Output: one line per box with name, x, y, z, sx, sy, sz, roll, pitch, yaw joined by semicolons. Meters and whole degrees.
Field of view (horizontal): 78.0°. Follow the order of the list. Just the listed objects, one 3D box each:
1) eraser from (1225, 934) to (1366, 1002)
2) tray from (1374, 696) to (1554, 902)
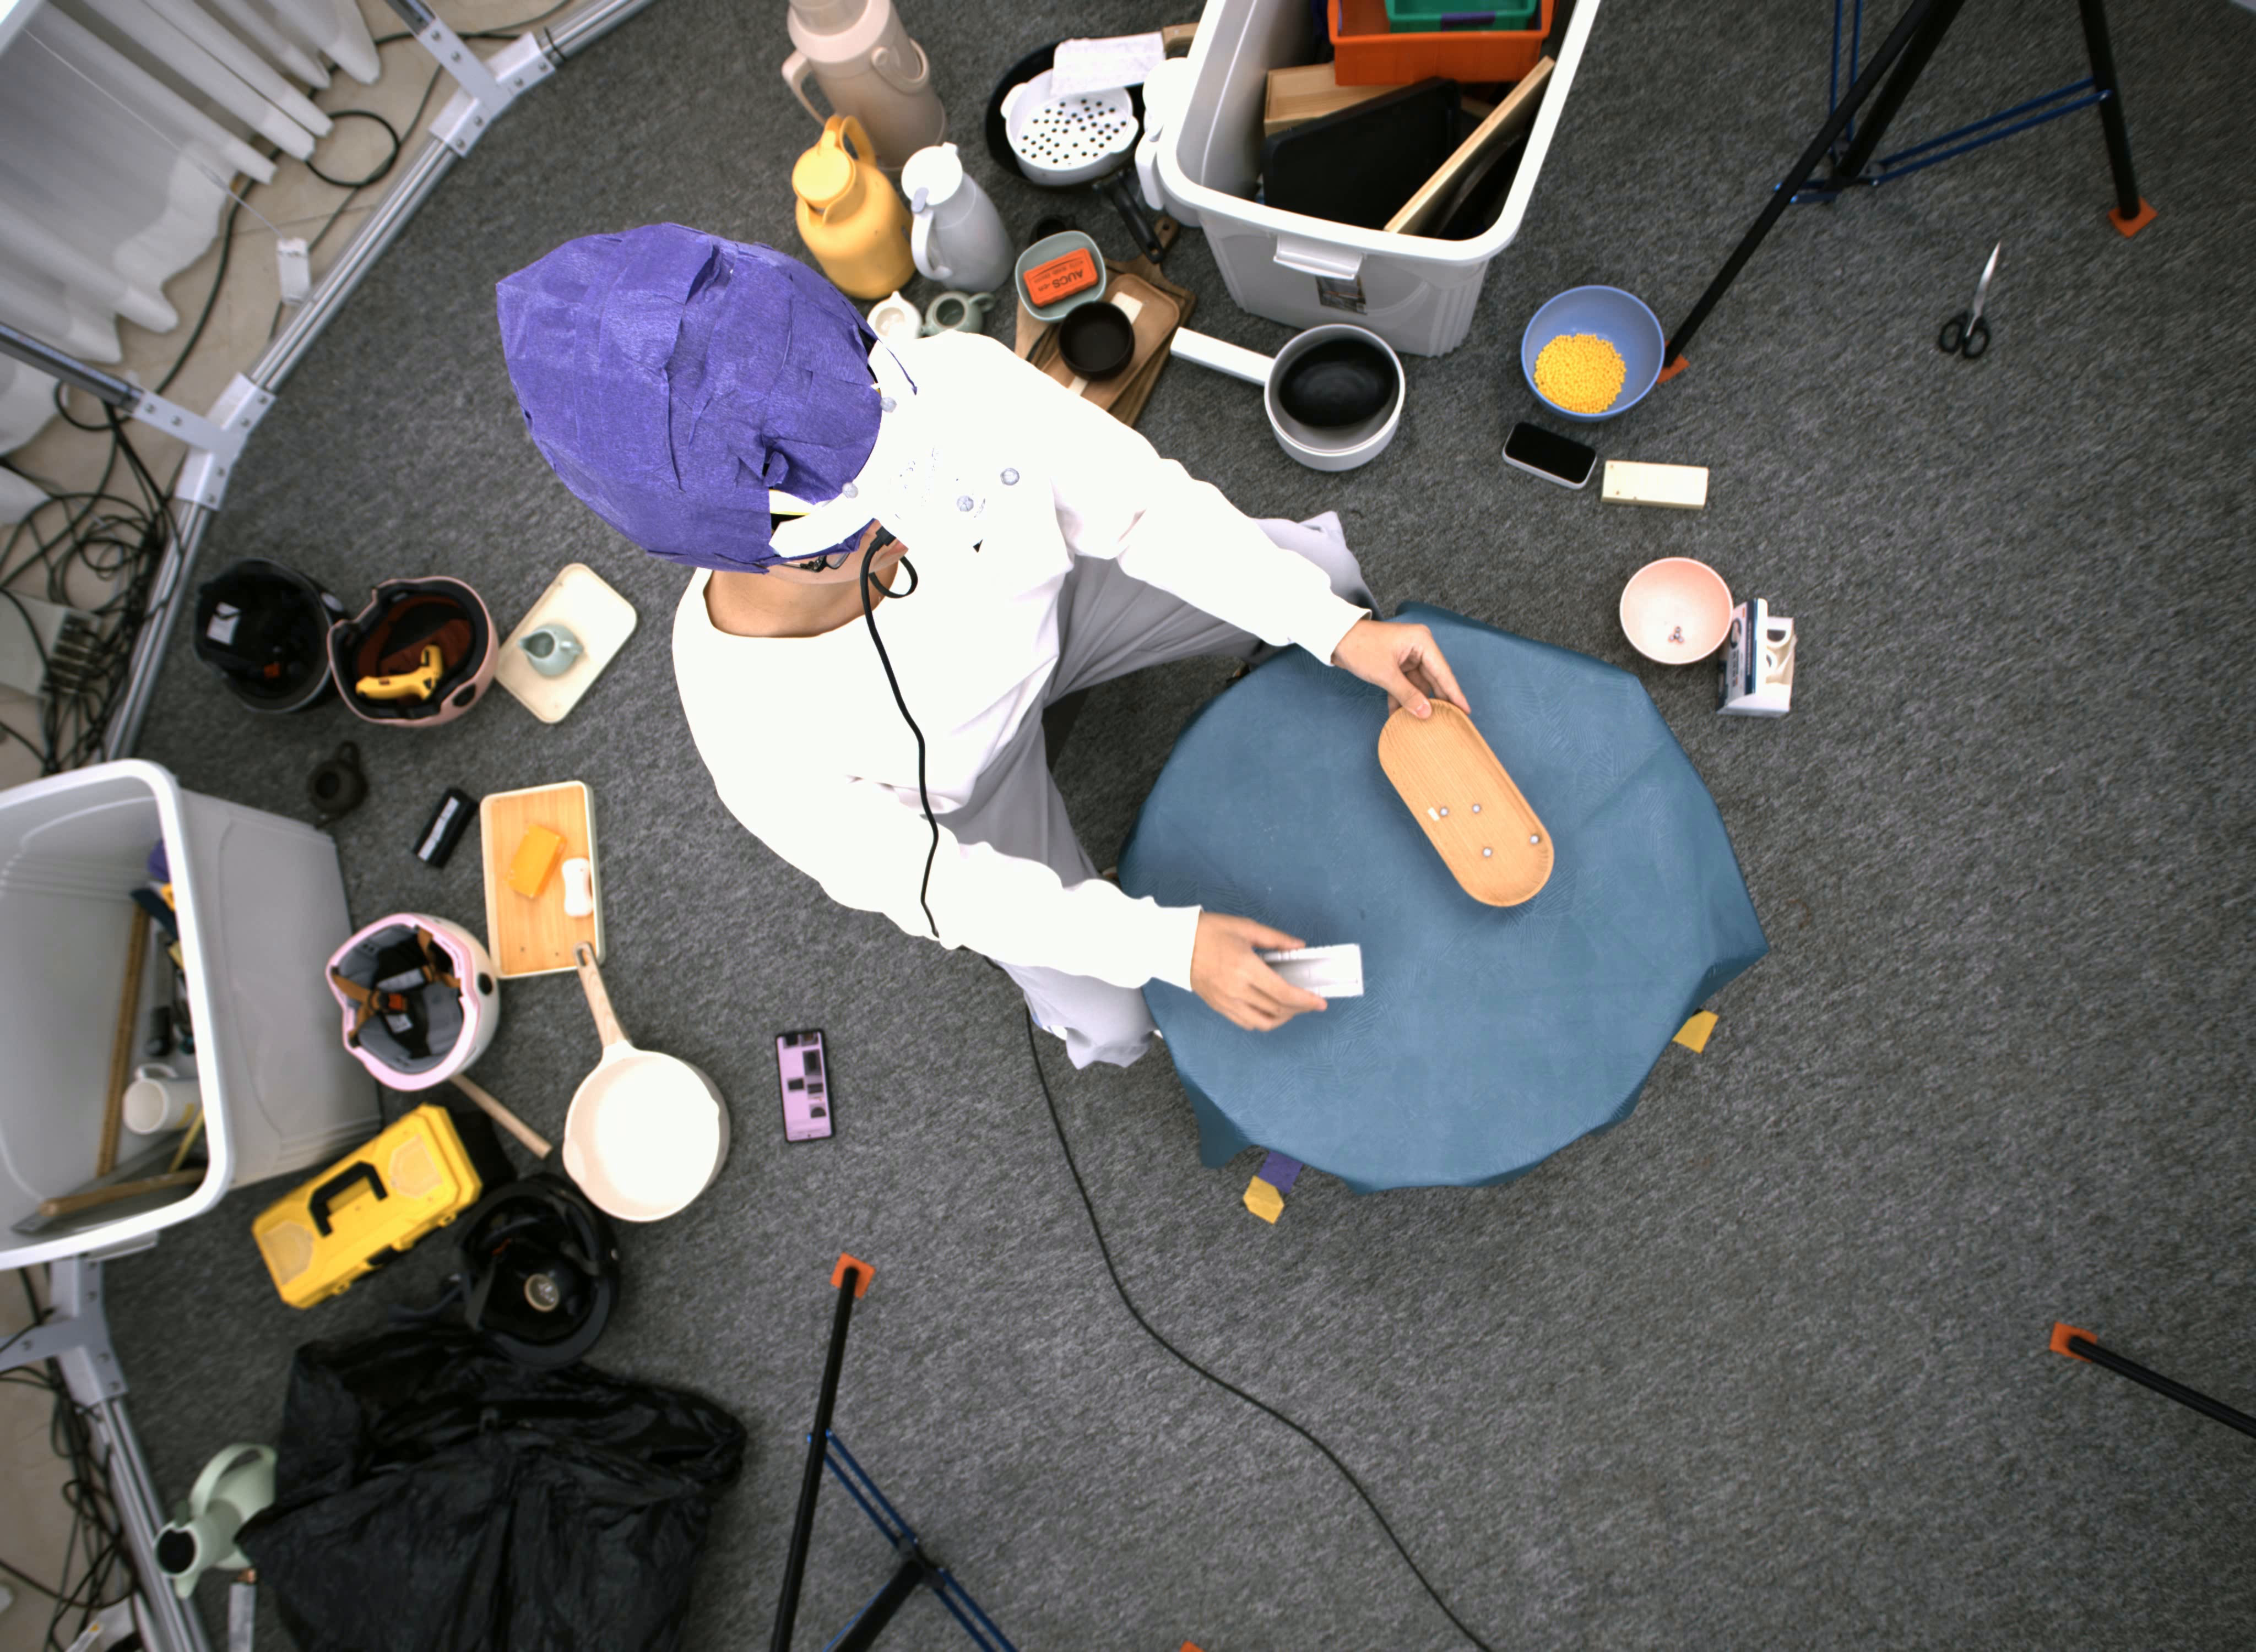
eraser;0.169;0.143;1.391;0.135;0.046;0.049;-11;77;20
tray;0.338;-0.030;1.382;0.103;0.020;0.229;-37;80;19
